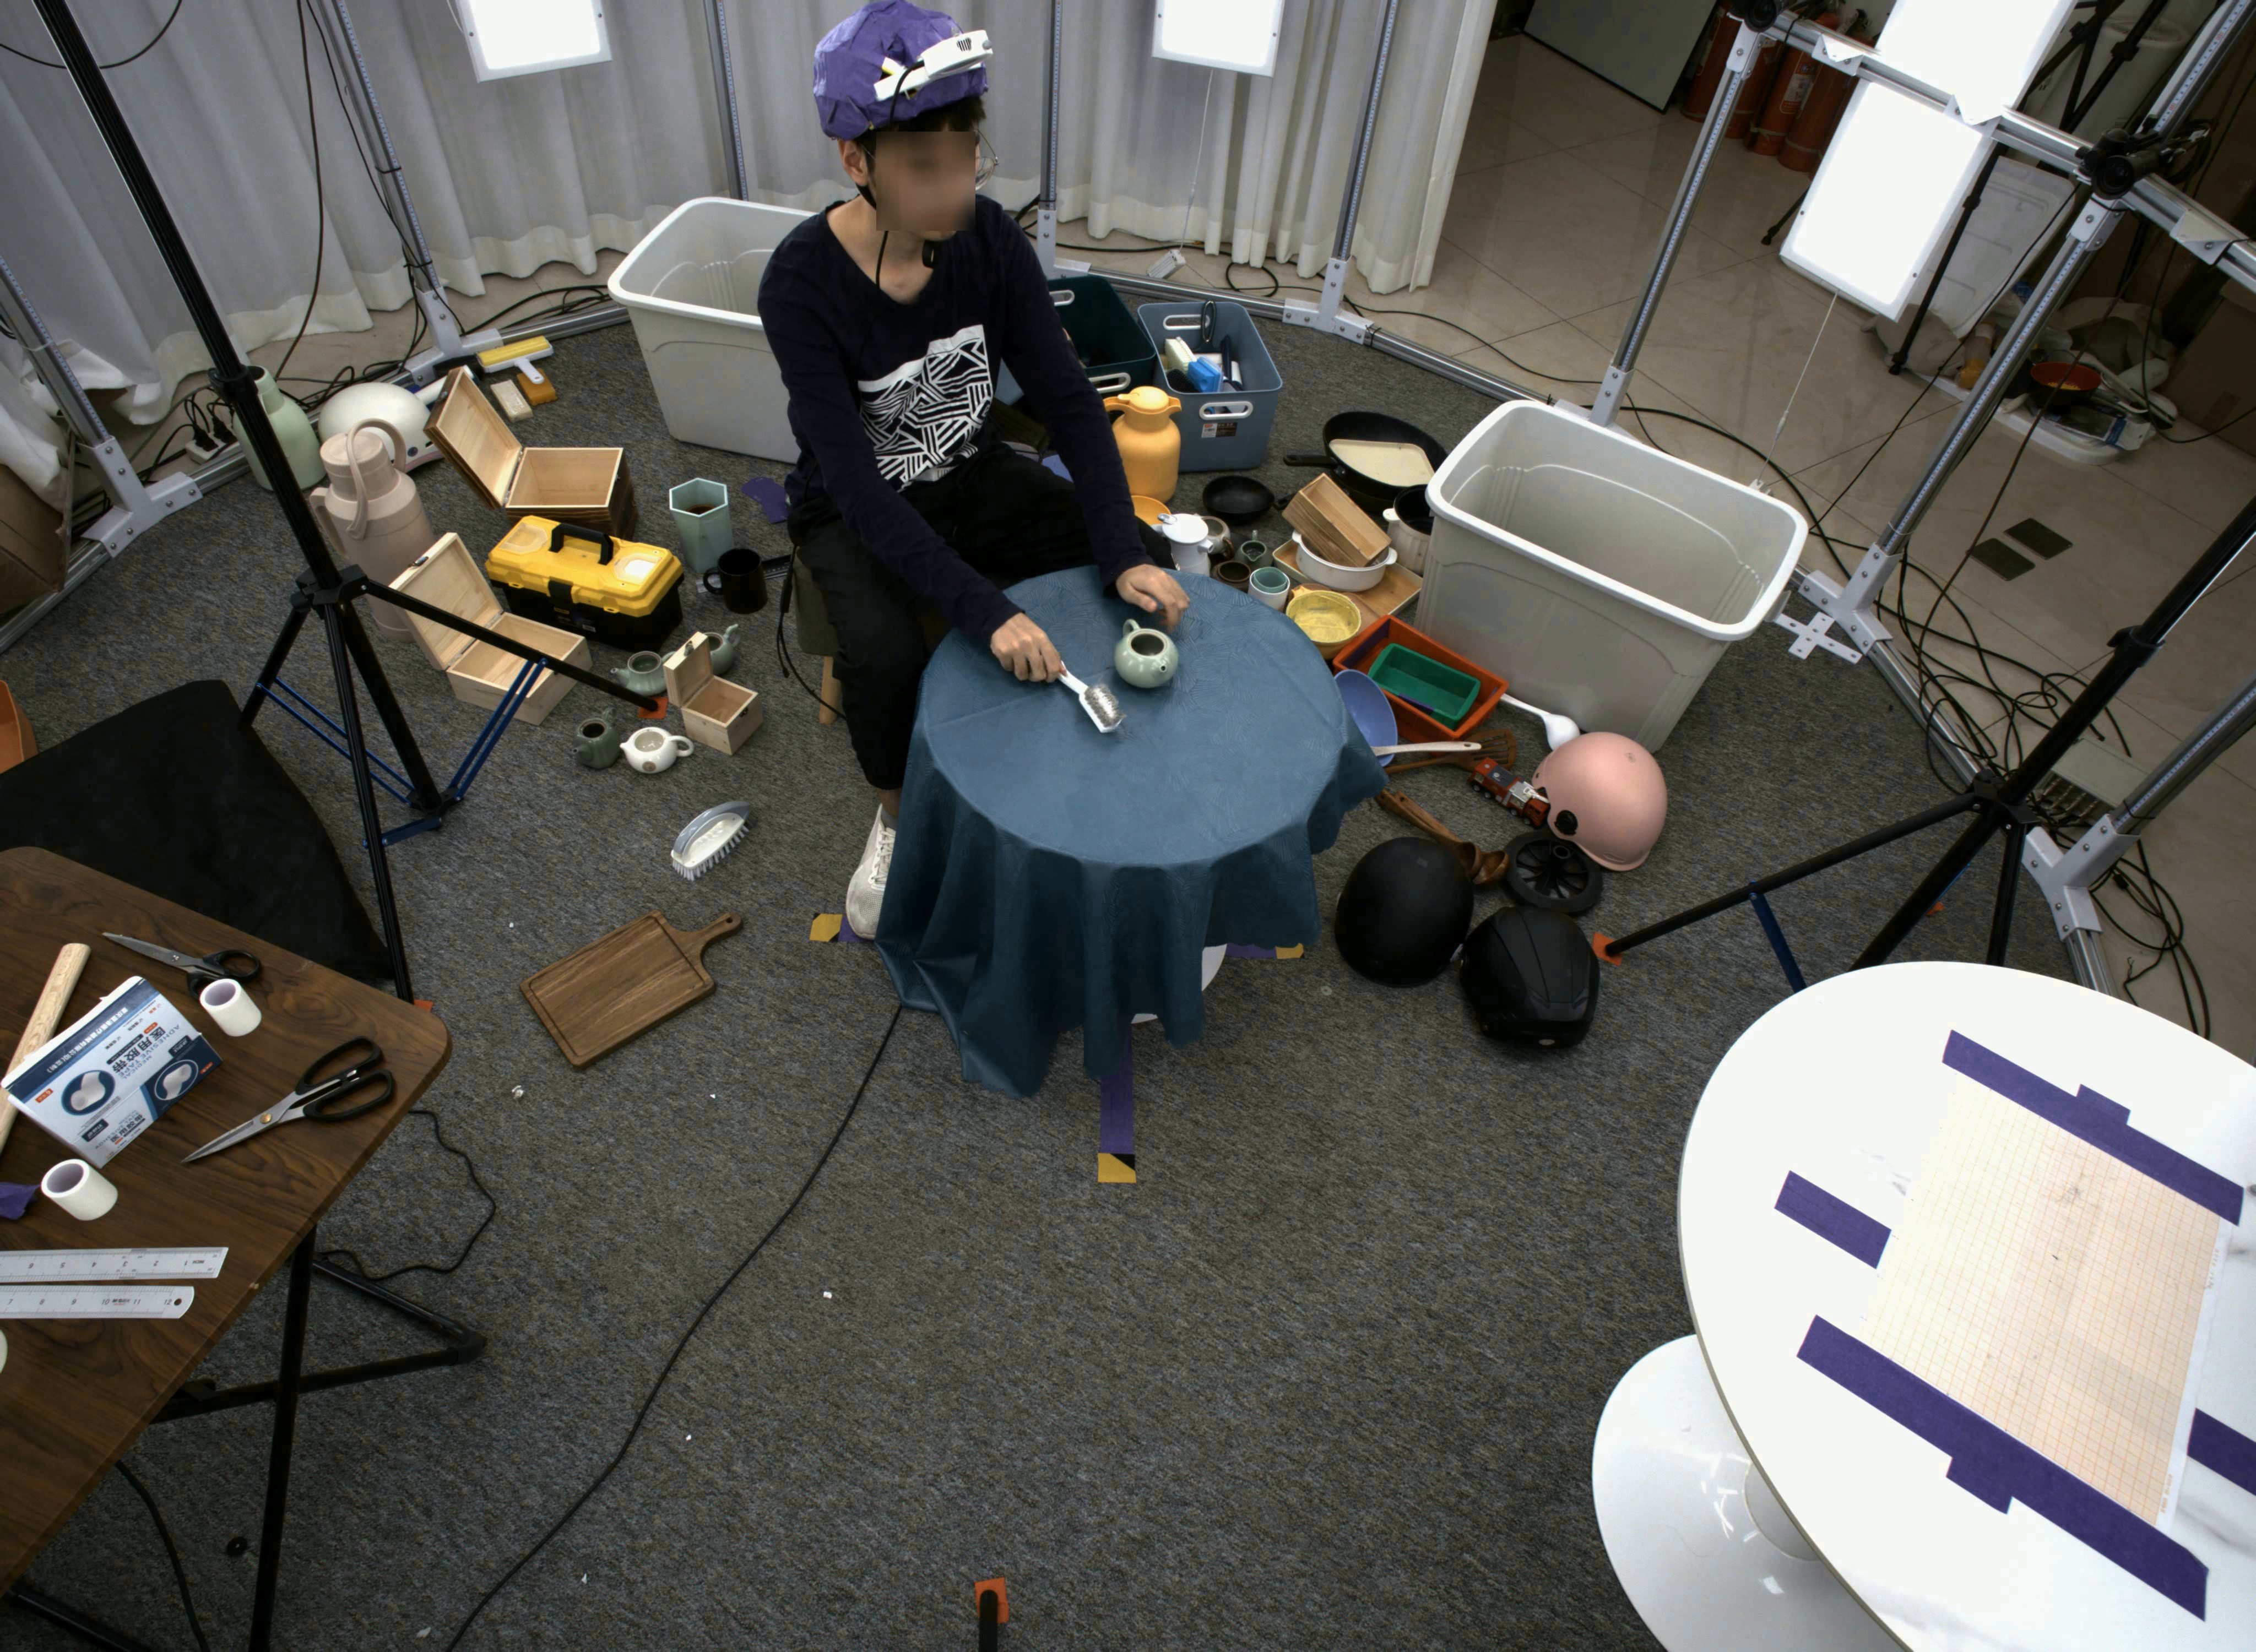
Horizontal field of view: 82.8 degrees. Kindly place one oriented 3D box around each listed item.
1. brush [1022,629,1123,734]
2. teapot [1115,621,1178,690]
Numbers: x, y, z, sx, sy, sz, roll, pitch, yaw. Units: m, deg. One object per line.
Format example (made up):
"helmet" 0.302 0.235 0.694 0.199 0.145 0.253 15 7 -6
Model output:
"brush" -0.083 -0.219 1.822 0.034 0.049 0.248 -26 55 -19
"teapot" 0.023 -0.245 1.846 0.091 0.059 0.131 -16 51 -10
